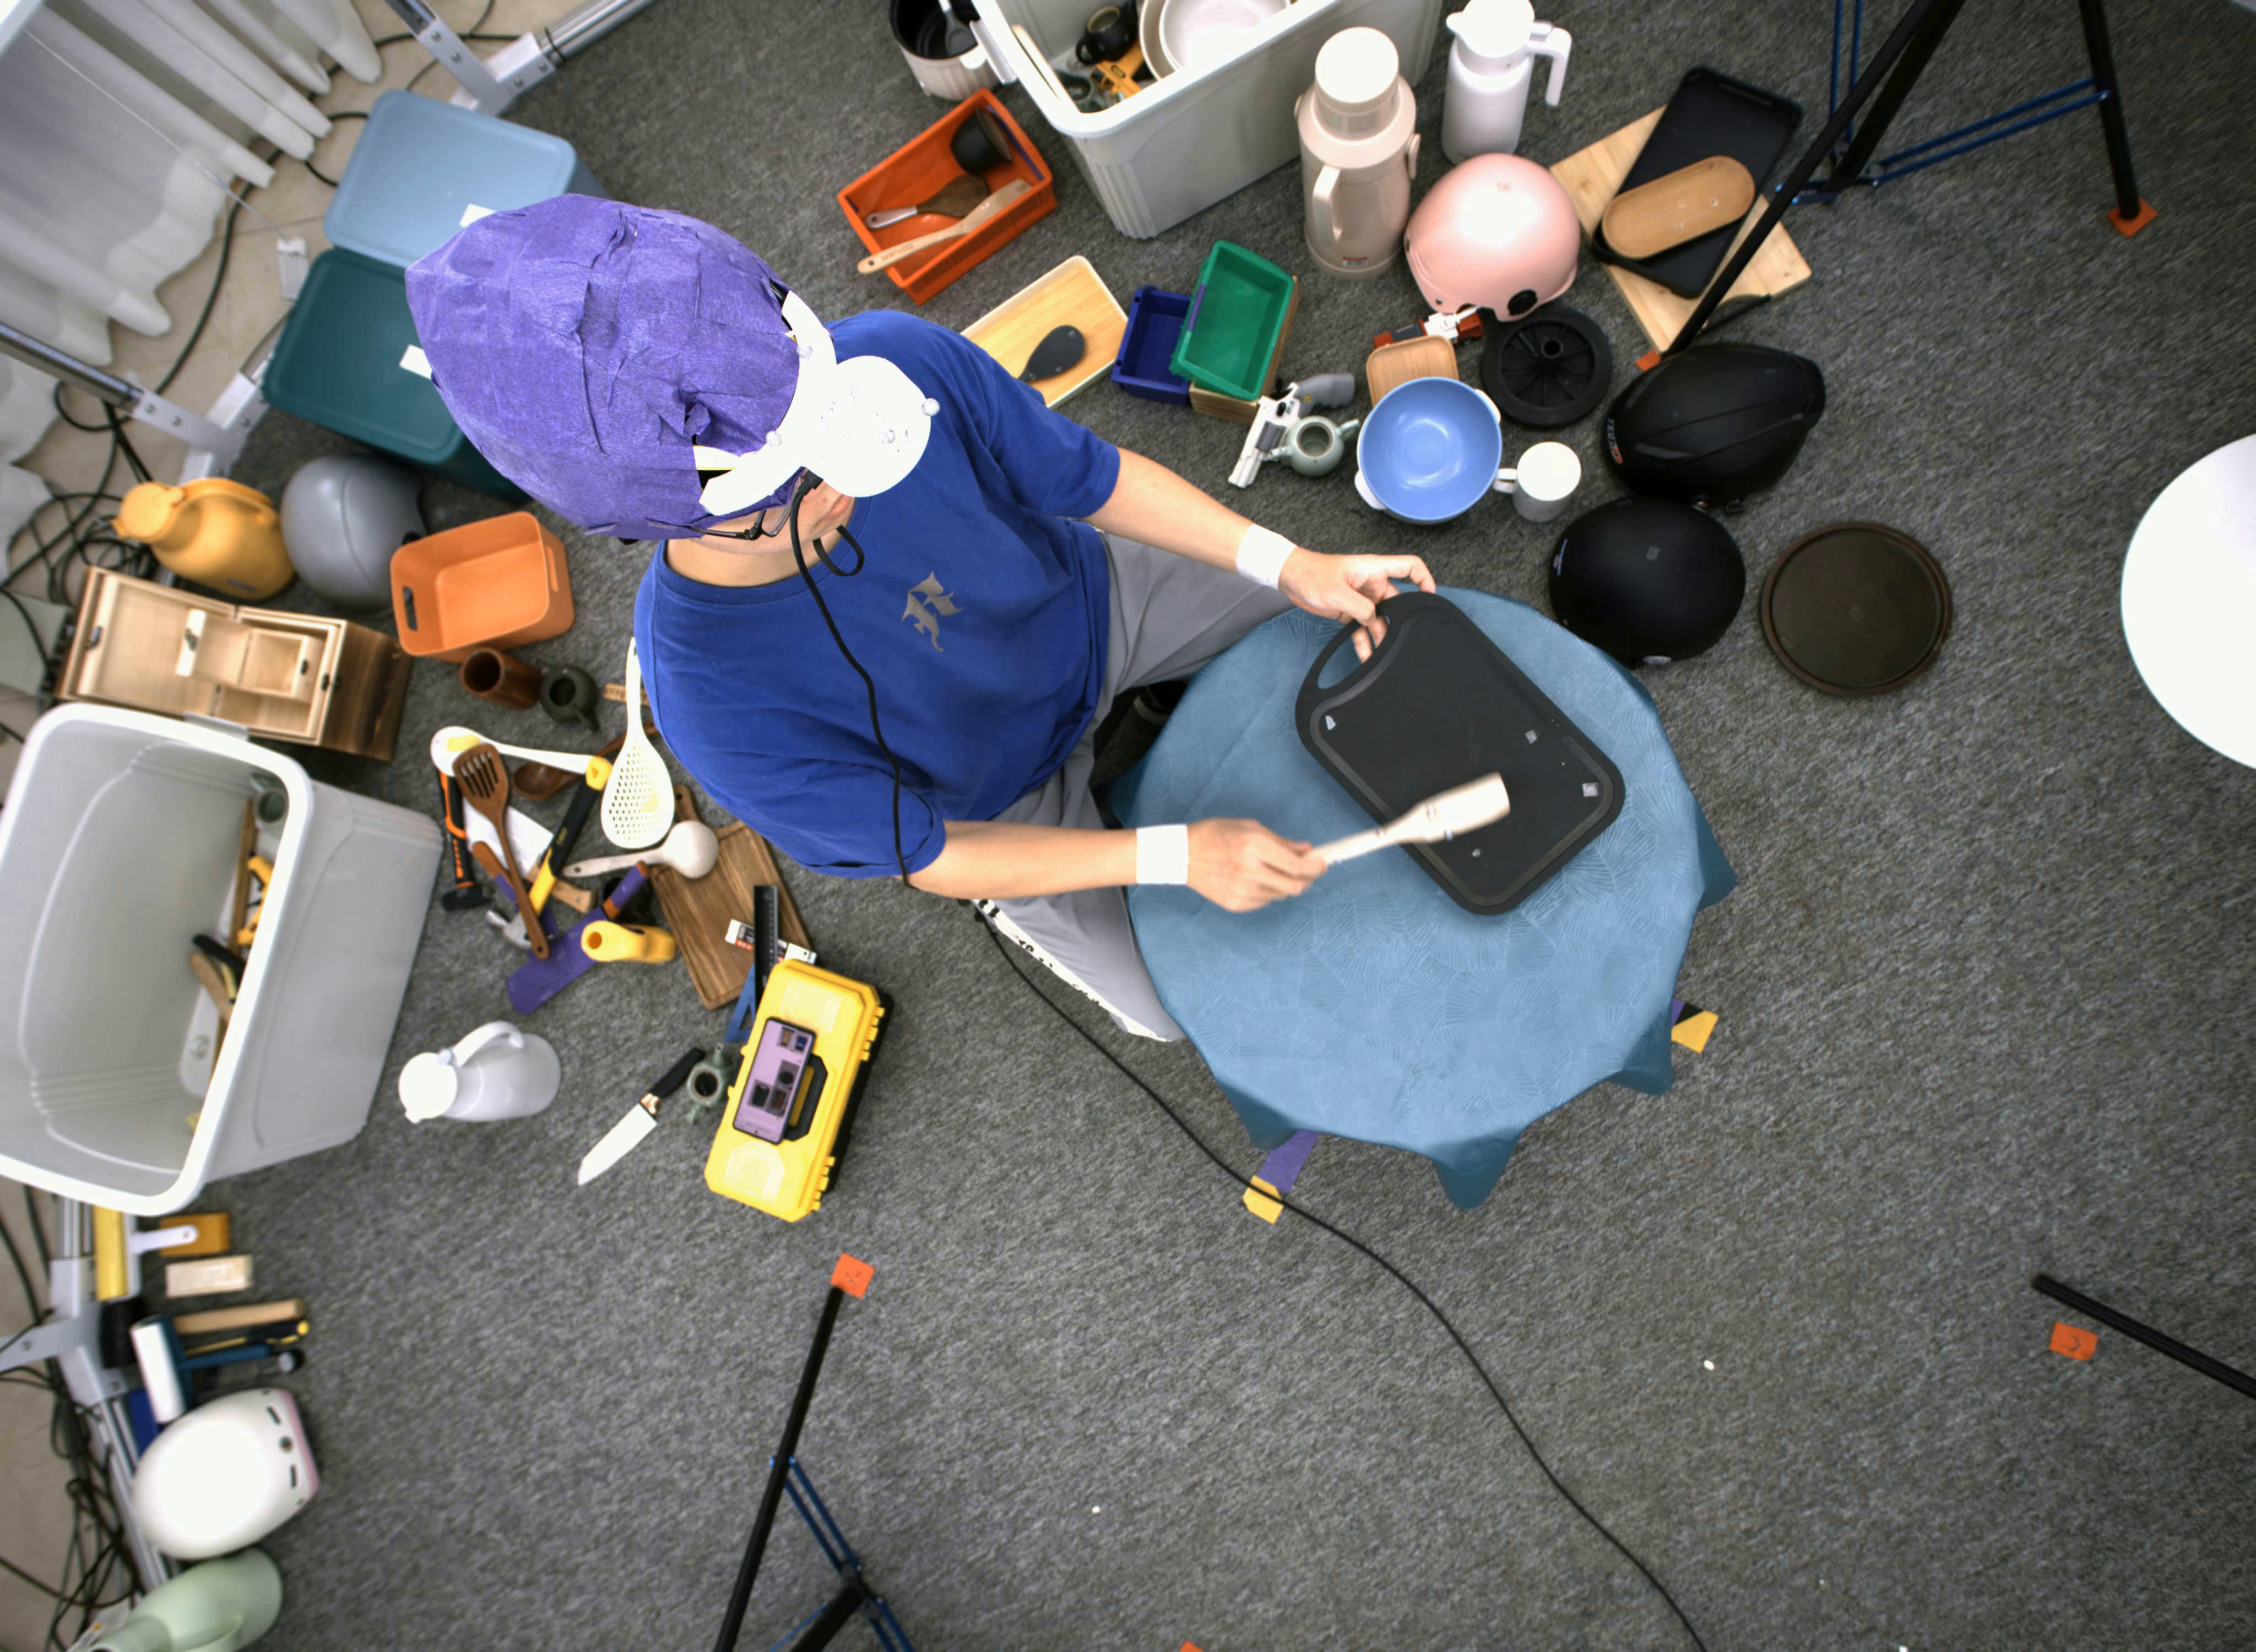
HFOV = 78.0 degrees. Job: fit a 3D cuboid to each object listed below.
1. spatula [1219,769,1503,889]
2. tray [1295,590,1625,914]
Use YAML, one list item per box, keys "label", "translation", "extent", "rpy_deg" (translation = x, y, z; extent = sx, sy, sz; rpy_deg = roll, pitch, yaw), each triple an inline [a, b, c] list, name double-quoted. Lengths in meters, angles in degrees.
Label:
- label: "spatula"
  translation: [0.225, 0.009, 1.361]
  extent: [0.296, 0.070, 0.011]
  rpy_deg: [-21, 114, 16]
- label: "tray"
  translation: [0.321, -0.078, 1.373]
  extent: [0.325, 0.009, 0.215]
  rpy_deg: [46, 114, 3]
